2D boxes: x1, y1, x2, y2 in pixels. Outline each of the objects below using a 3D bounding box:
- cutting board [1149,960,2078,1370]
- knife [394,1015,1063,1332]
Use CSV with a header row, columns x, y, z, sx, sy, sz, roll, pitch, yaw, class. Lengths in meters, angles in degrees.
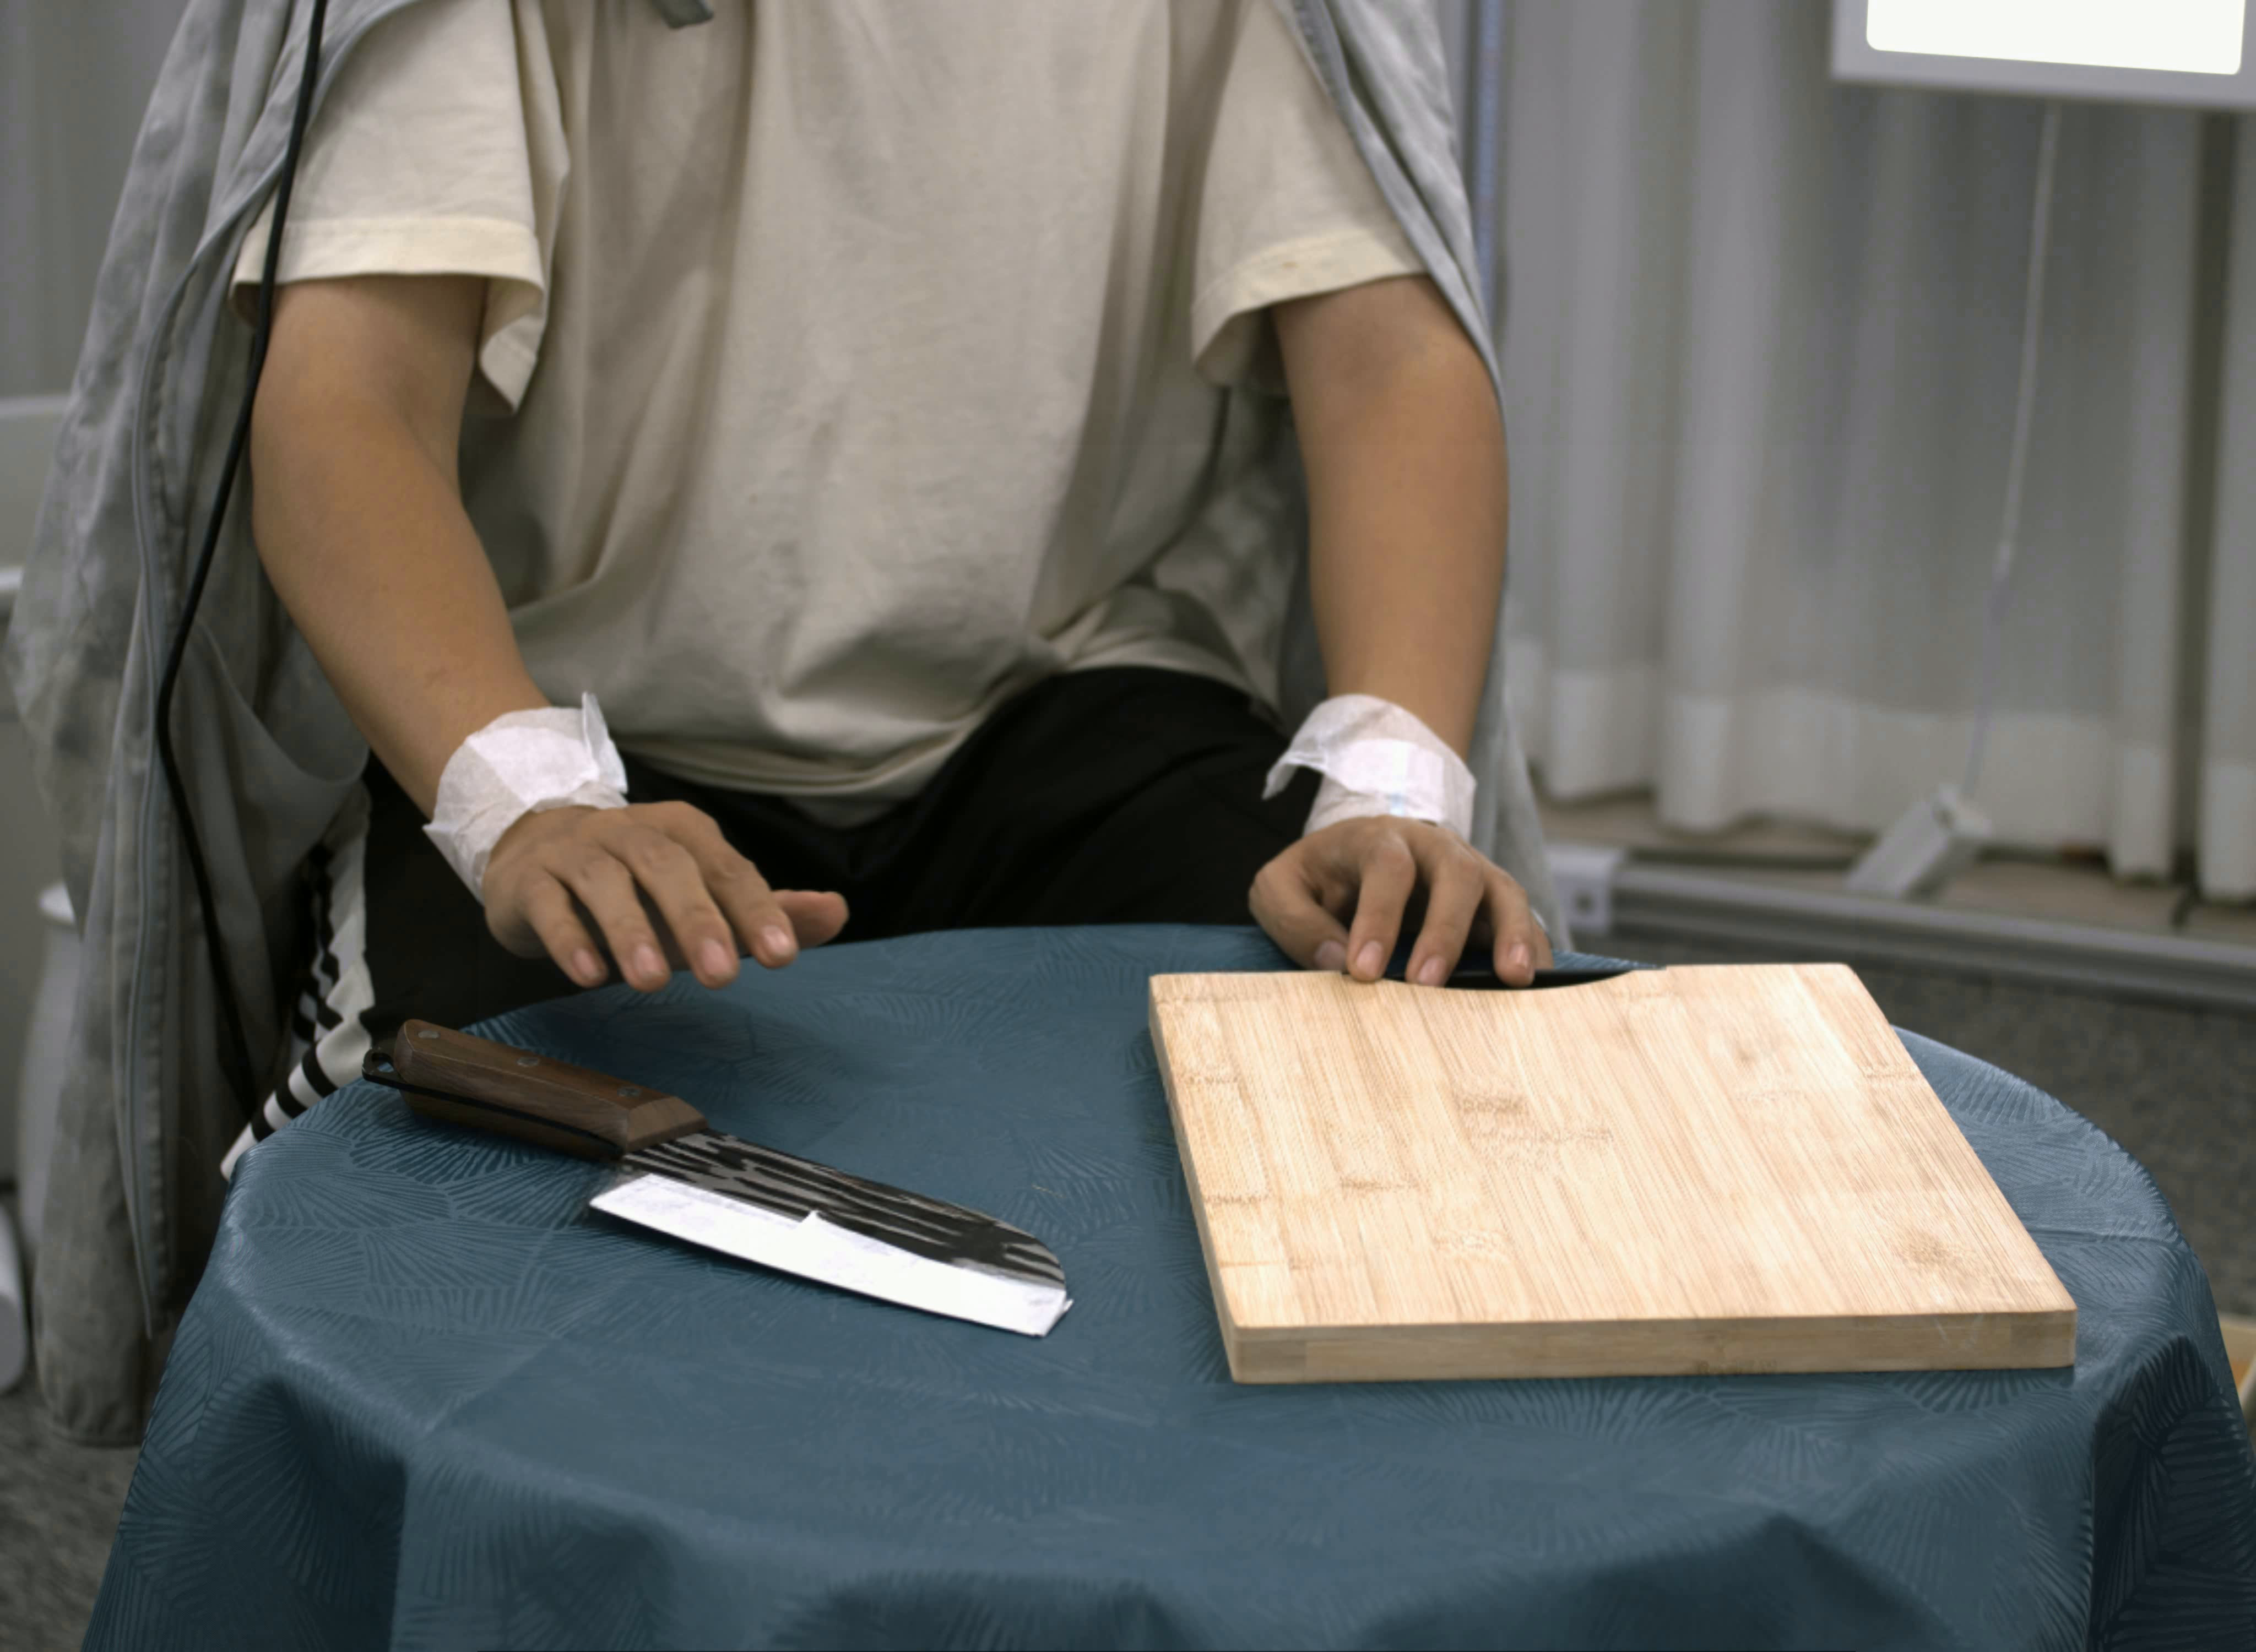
x,y,z,sx,sy,sz,roll,pitch,yaw,class
0.138,0.101,1.643,0.250,0.024,0.346,-1,15,-5,cutting board
-0.131,0.107,1.603,0.295,0.024,0.068,15,23,34,knife
